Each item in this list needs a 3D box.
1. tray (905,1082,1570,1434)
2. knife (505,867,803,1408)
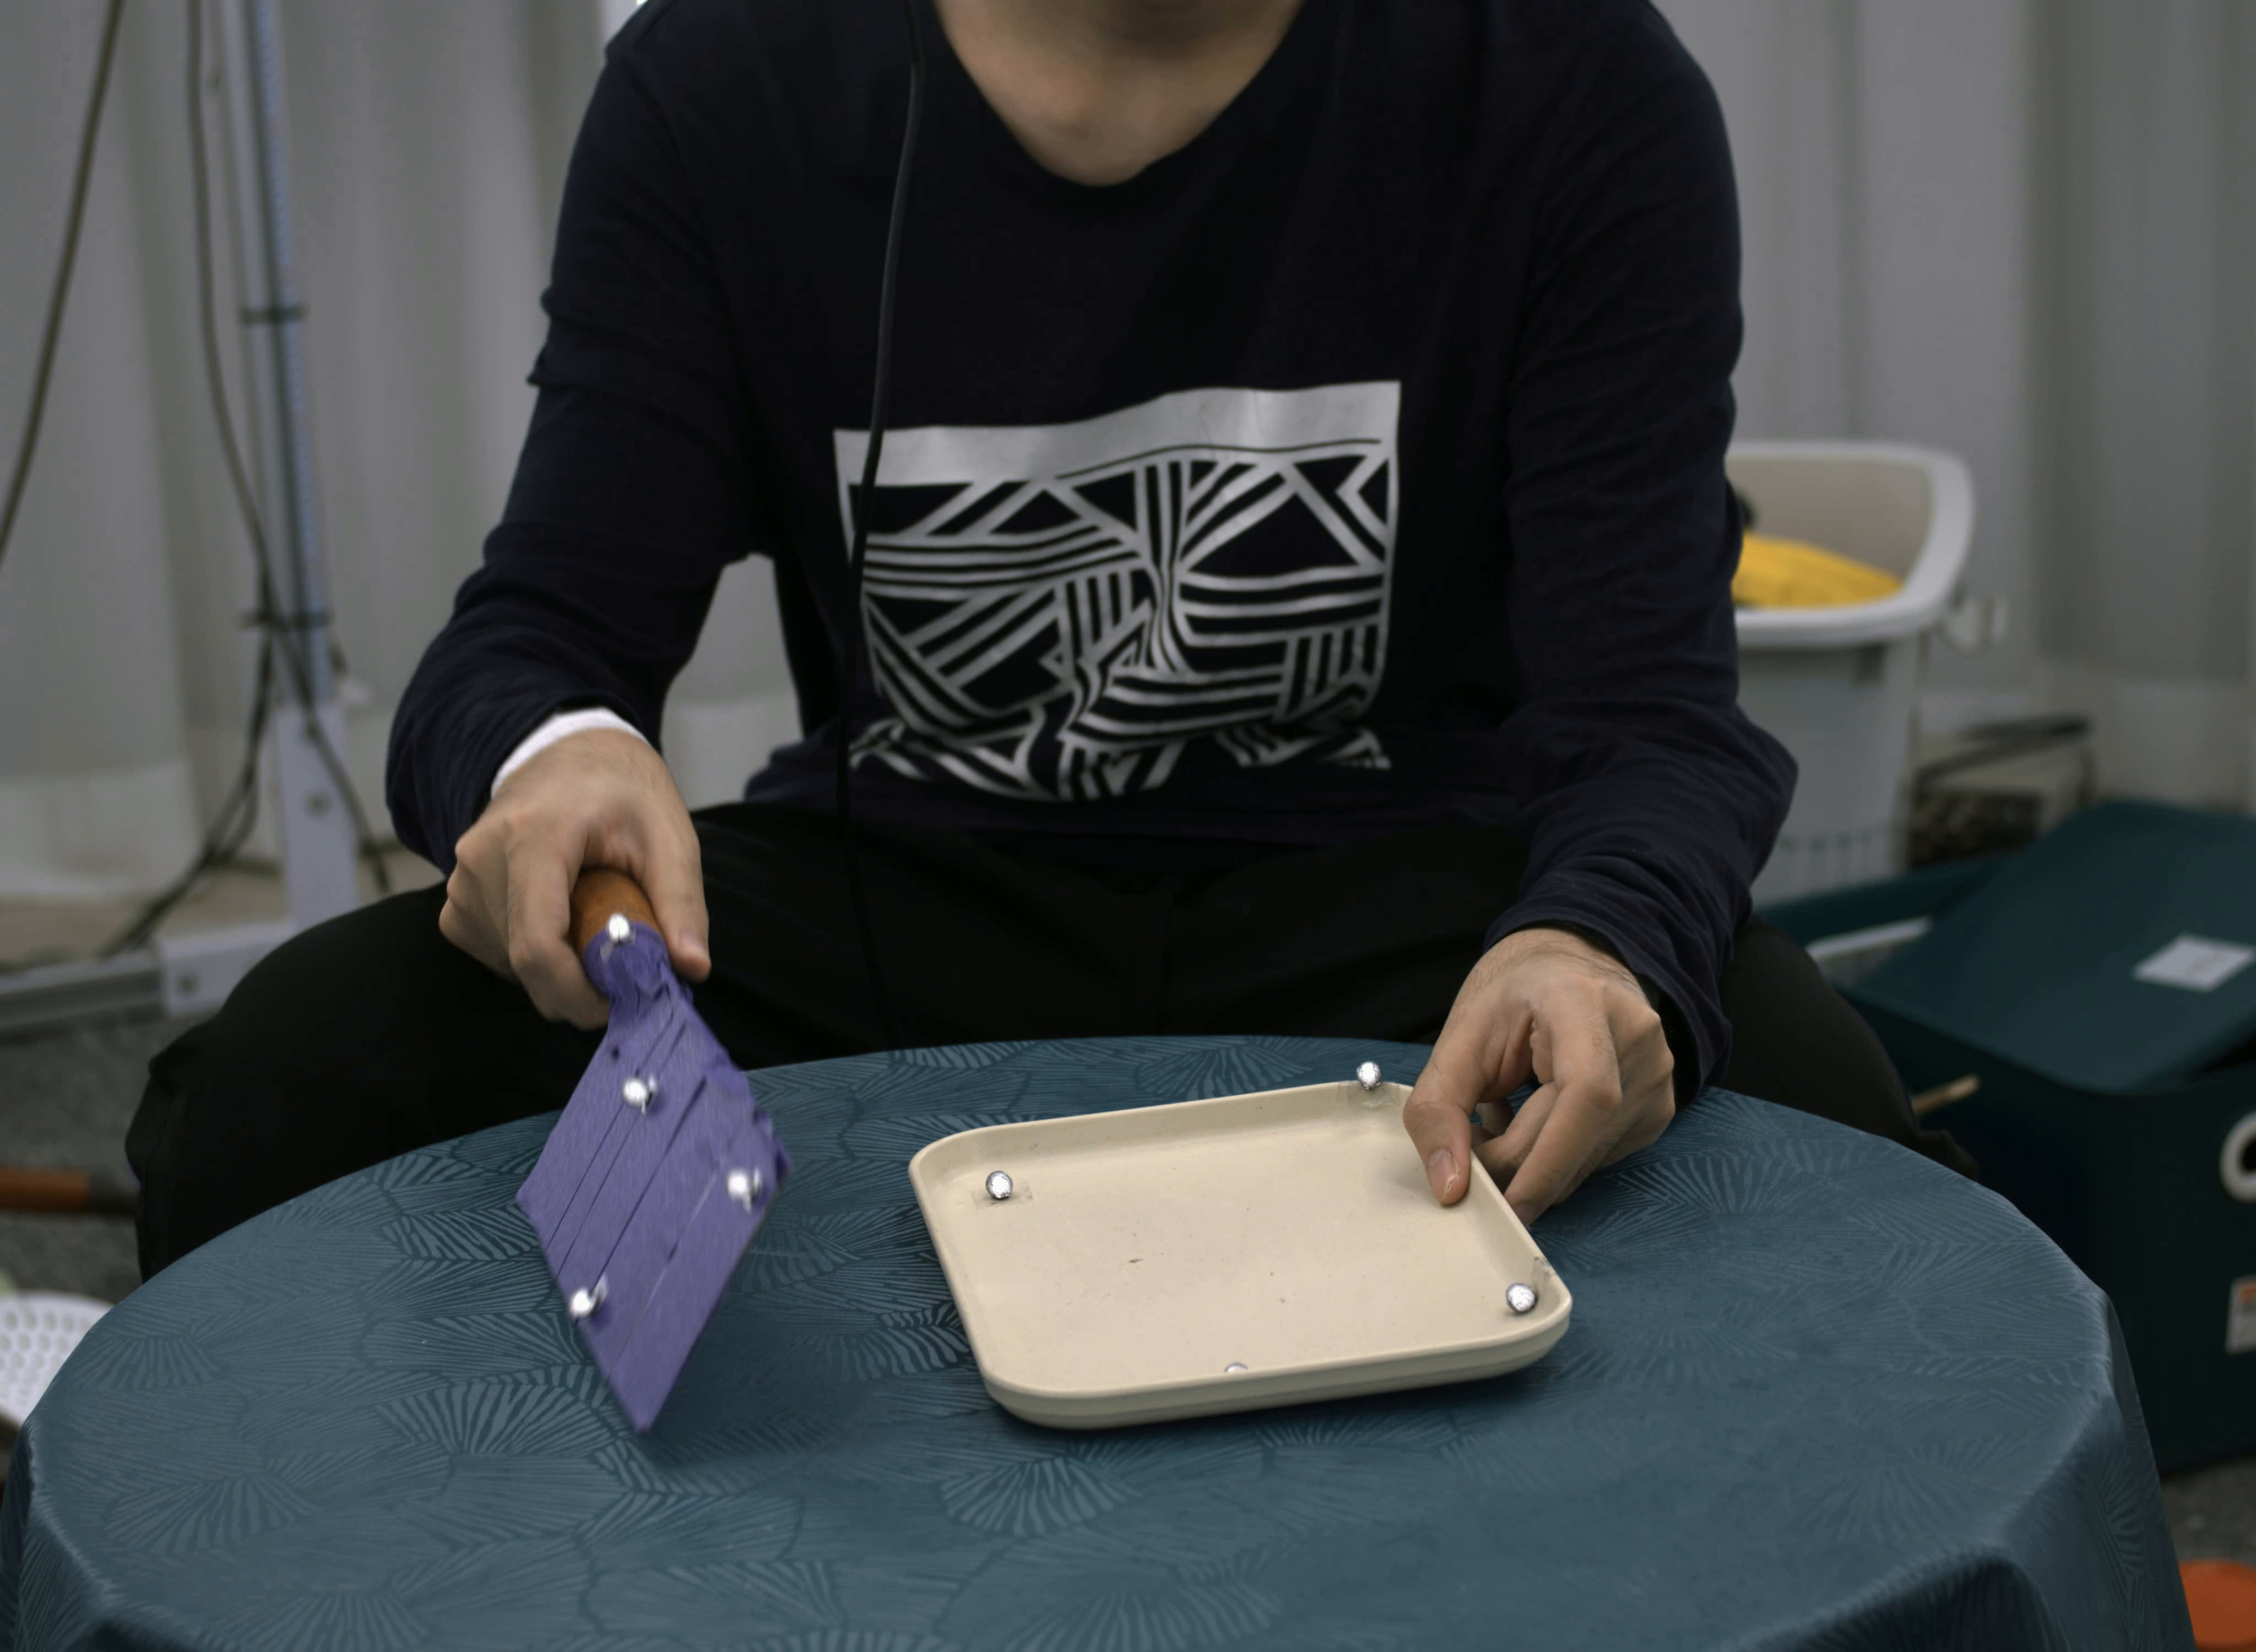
[{"bbox_3d":[0.028,0.127,1.623,0.170,0.017,0.241,-8,15,-7],"label":"tray"},{"bbox_3d":[-0.156,0.089,1.638,0.032,0.104,0.318,30,5,-19],"label":"knife"}]
